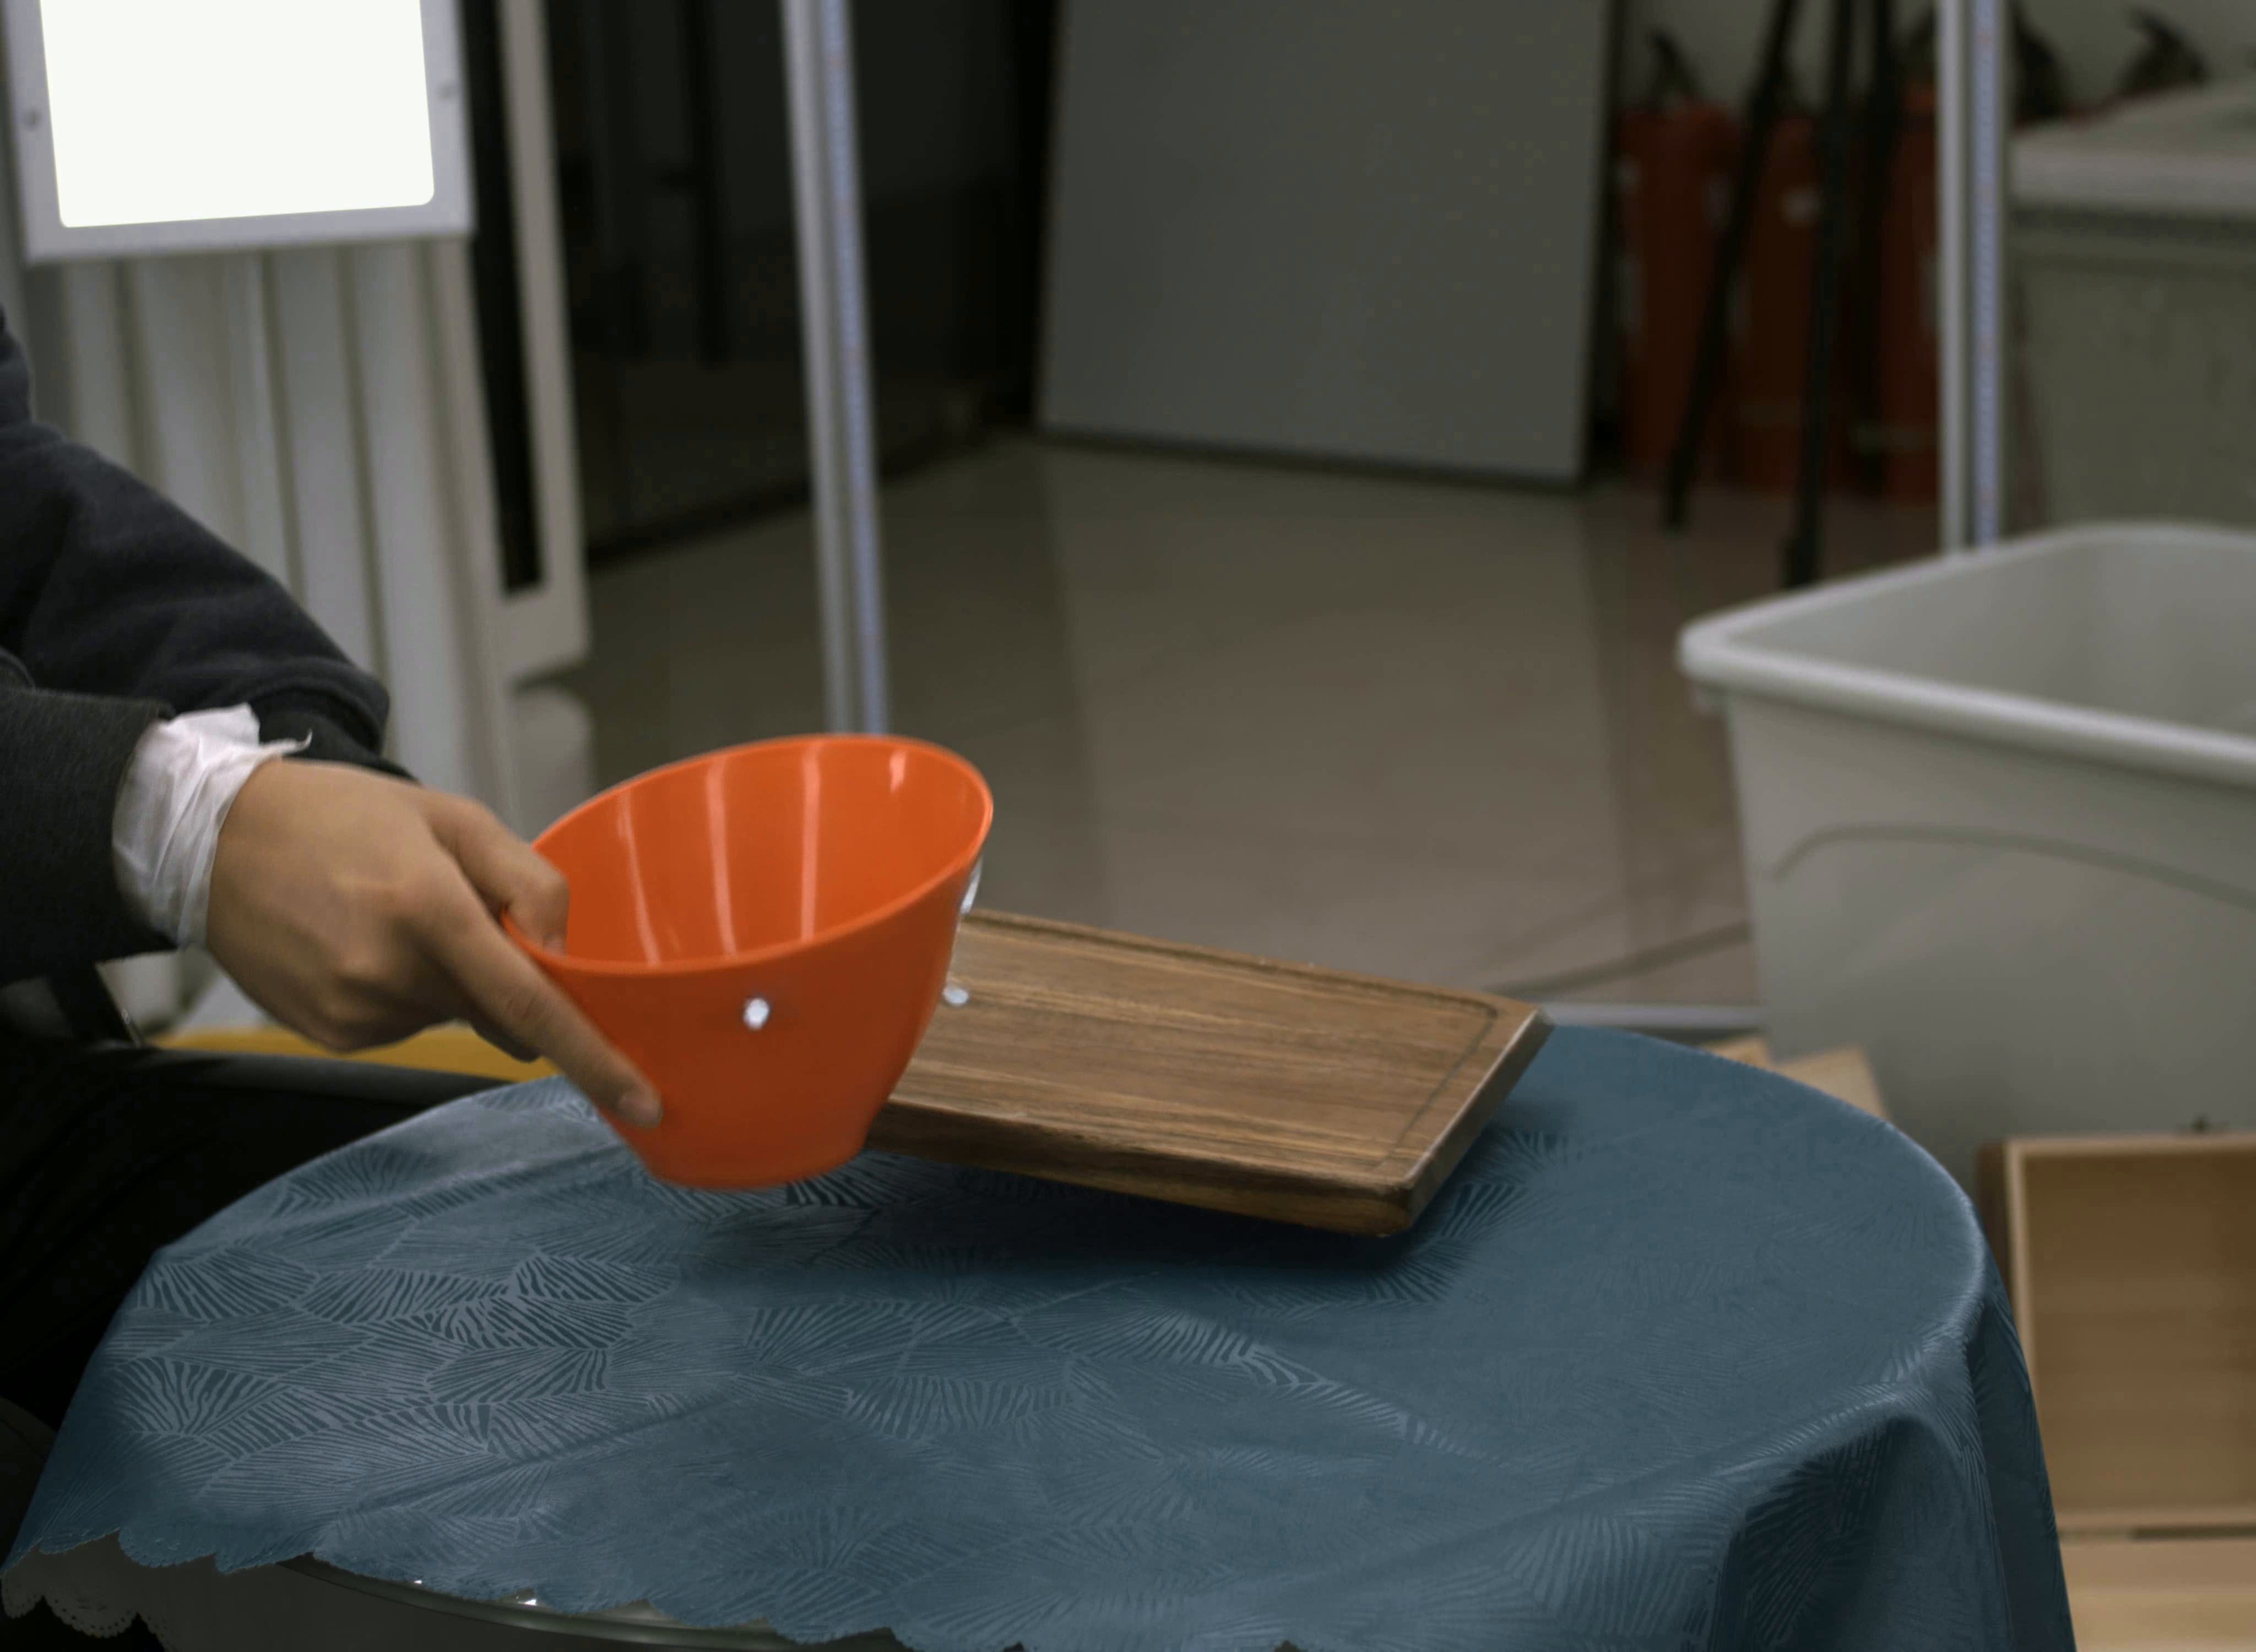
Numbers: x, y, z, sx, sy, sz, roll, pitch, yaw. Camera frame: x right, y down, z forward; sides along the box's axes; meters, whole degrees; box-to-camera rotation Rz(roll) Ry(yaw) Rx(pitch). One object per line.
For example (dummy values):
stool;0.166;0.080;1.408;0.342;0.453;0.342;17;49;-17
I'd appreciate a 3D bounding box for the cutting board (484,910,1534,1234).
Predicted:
cutting board;-0.051;0.068;1.796;0.351;0.023;0.199;8;18;17

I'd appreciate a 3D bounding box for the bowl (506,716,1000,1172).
bowl;-0.106;0.038;1.588;0.146;0.106;0.148;-5;16;1
